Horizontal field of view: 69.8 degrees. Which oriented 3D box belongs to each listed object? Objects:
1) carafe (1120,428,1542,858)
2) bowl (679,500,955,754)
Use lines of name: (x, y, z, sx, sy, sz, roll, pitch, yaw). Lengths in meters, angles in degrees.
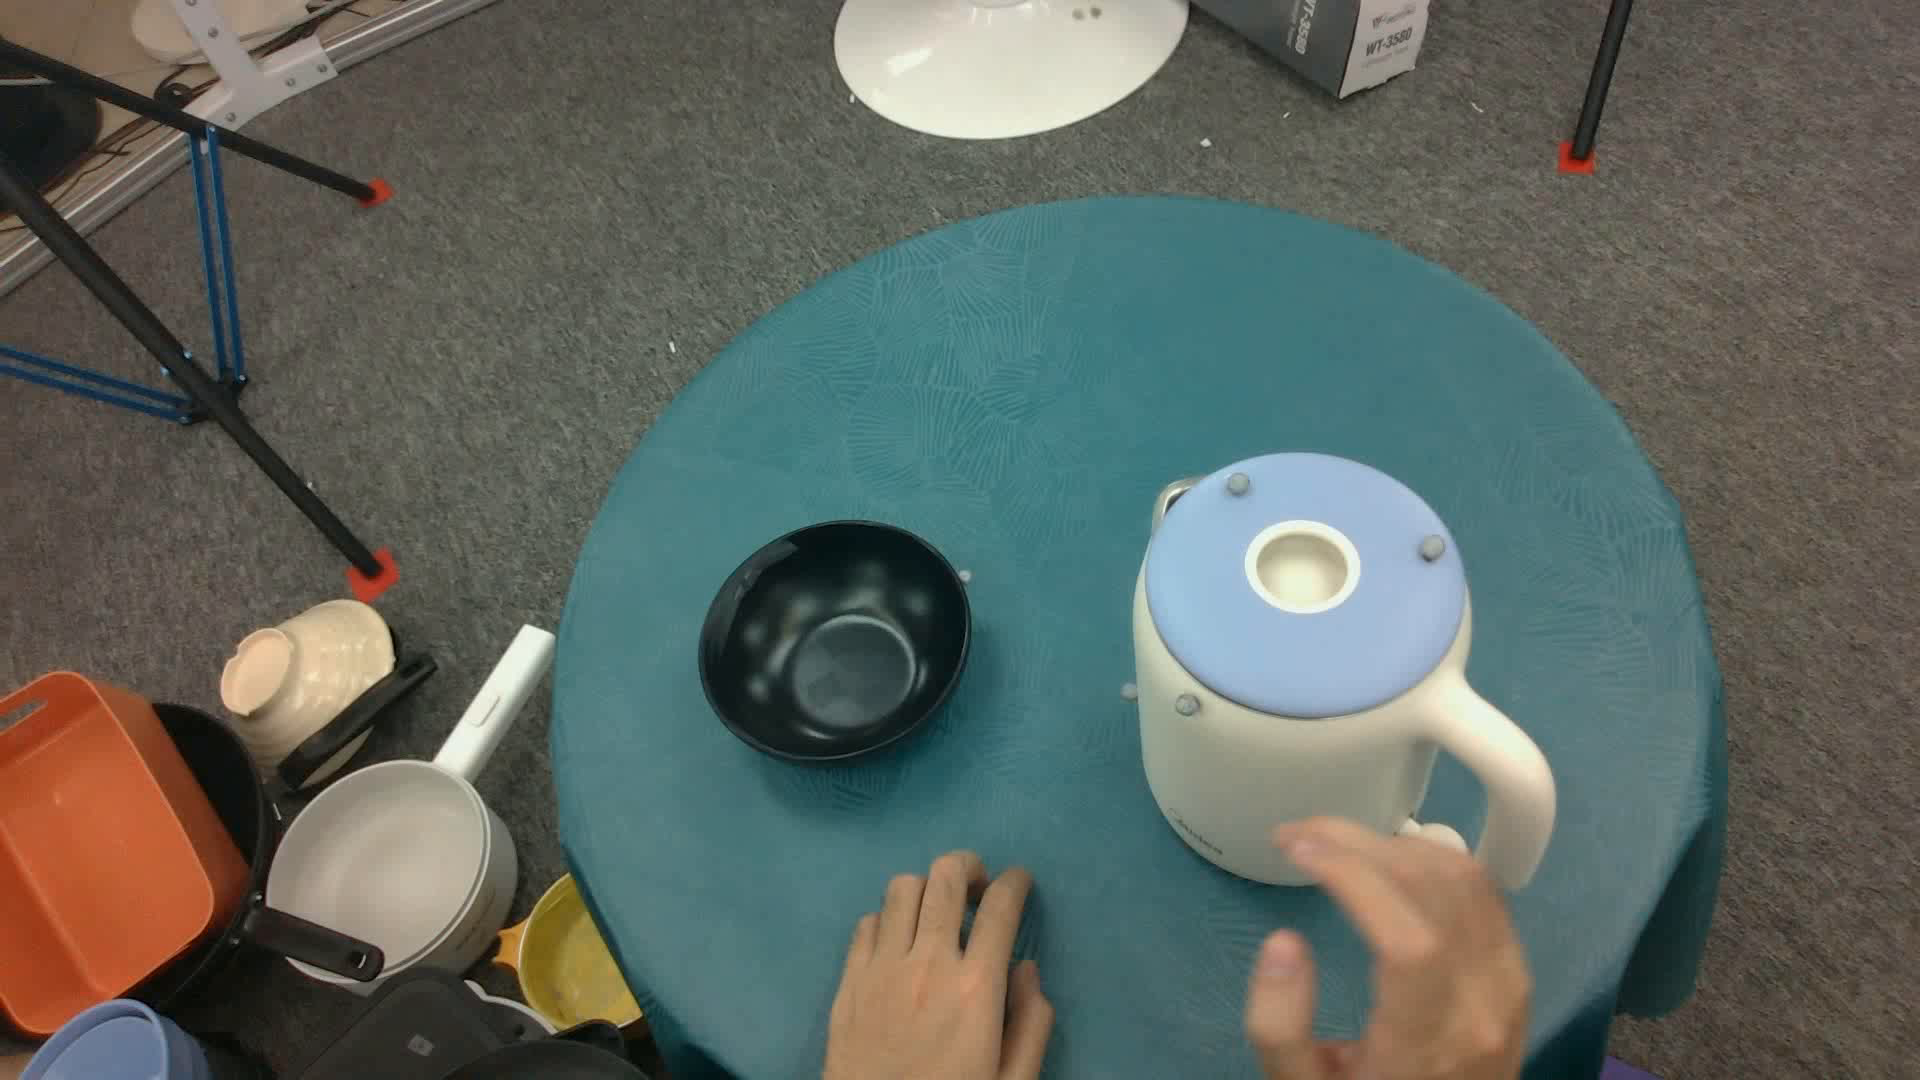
carafe: (0.154, 0.062, 0.585, 0.191, 0.182, 0.132, 36, 70, 25)
bowl: (-0.069, 0.050, 0.700, 0.140, 0.049, 0.140, -3, 58, 5)
